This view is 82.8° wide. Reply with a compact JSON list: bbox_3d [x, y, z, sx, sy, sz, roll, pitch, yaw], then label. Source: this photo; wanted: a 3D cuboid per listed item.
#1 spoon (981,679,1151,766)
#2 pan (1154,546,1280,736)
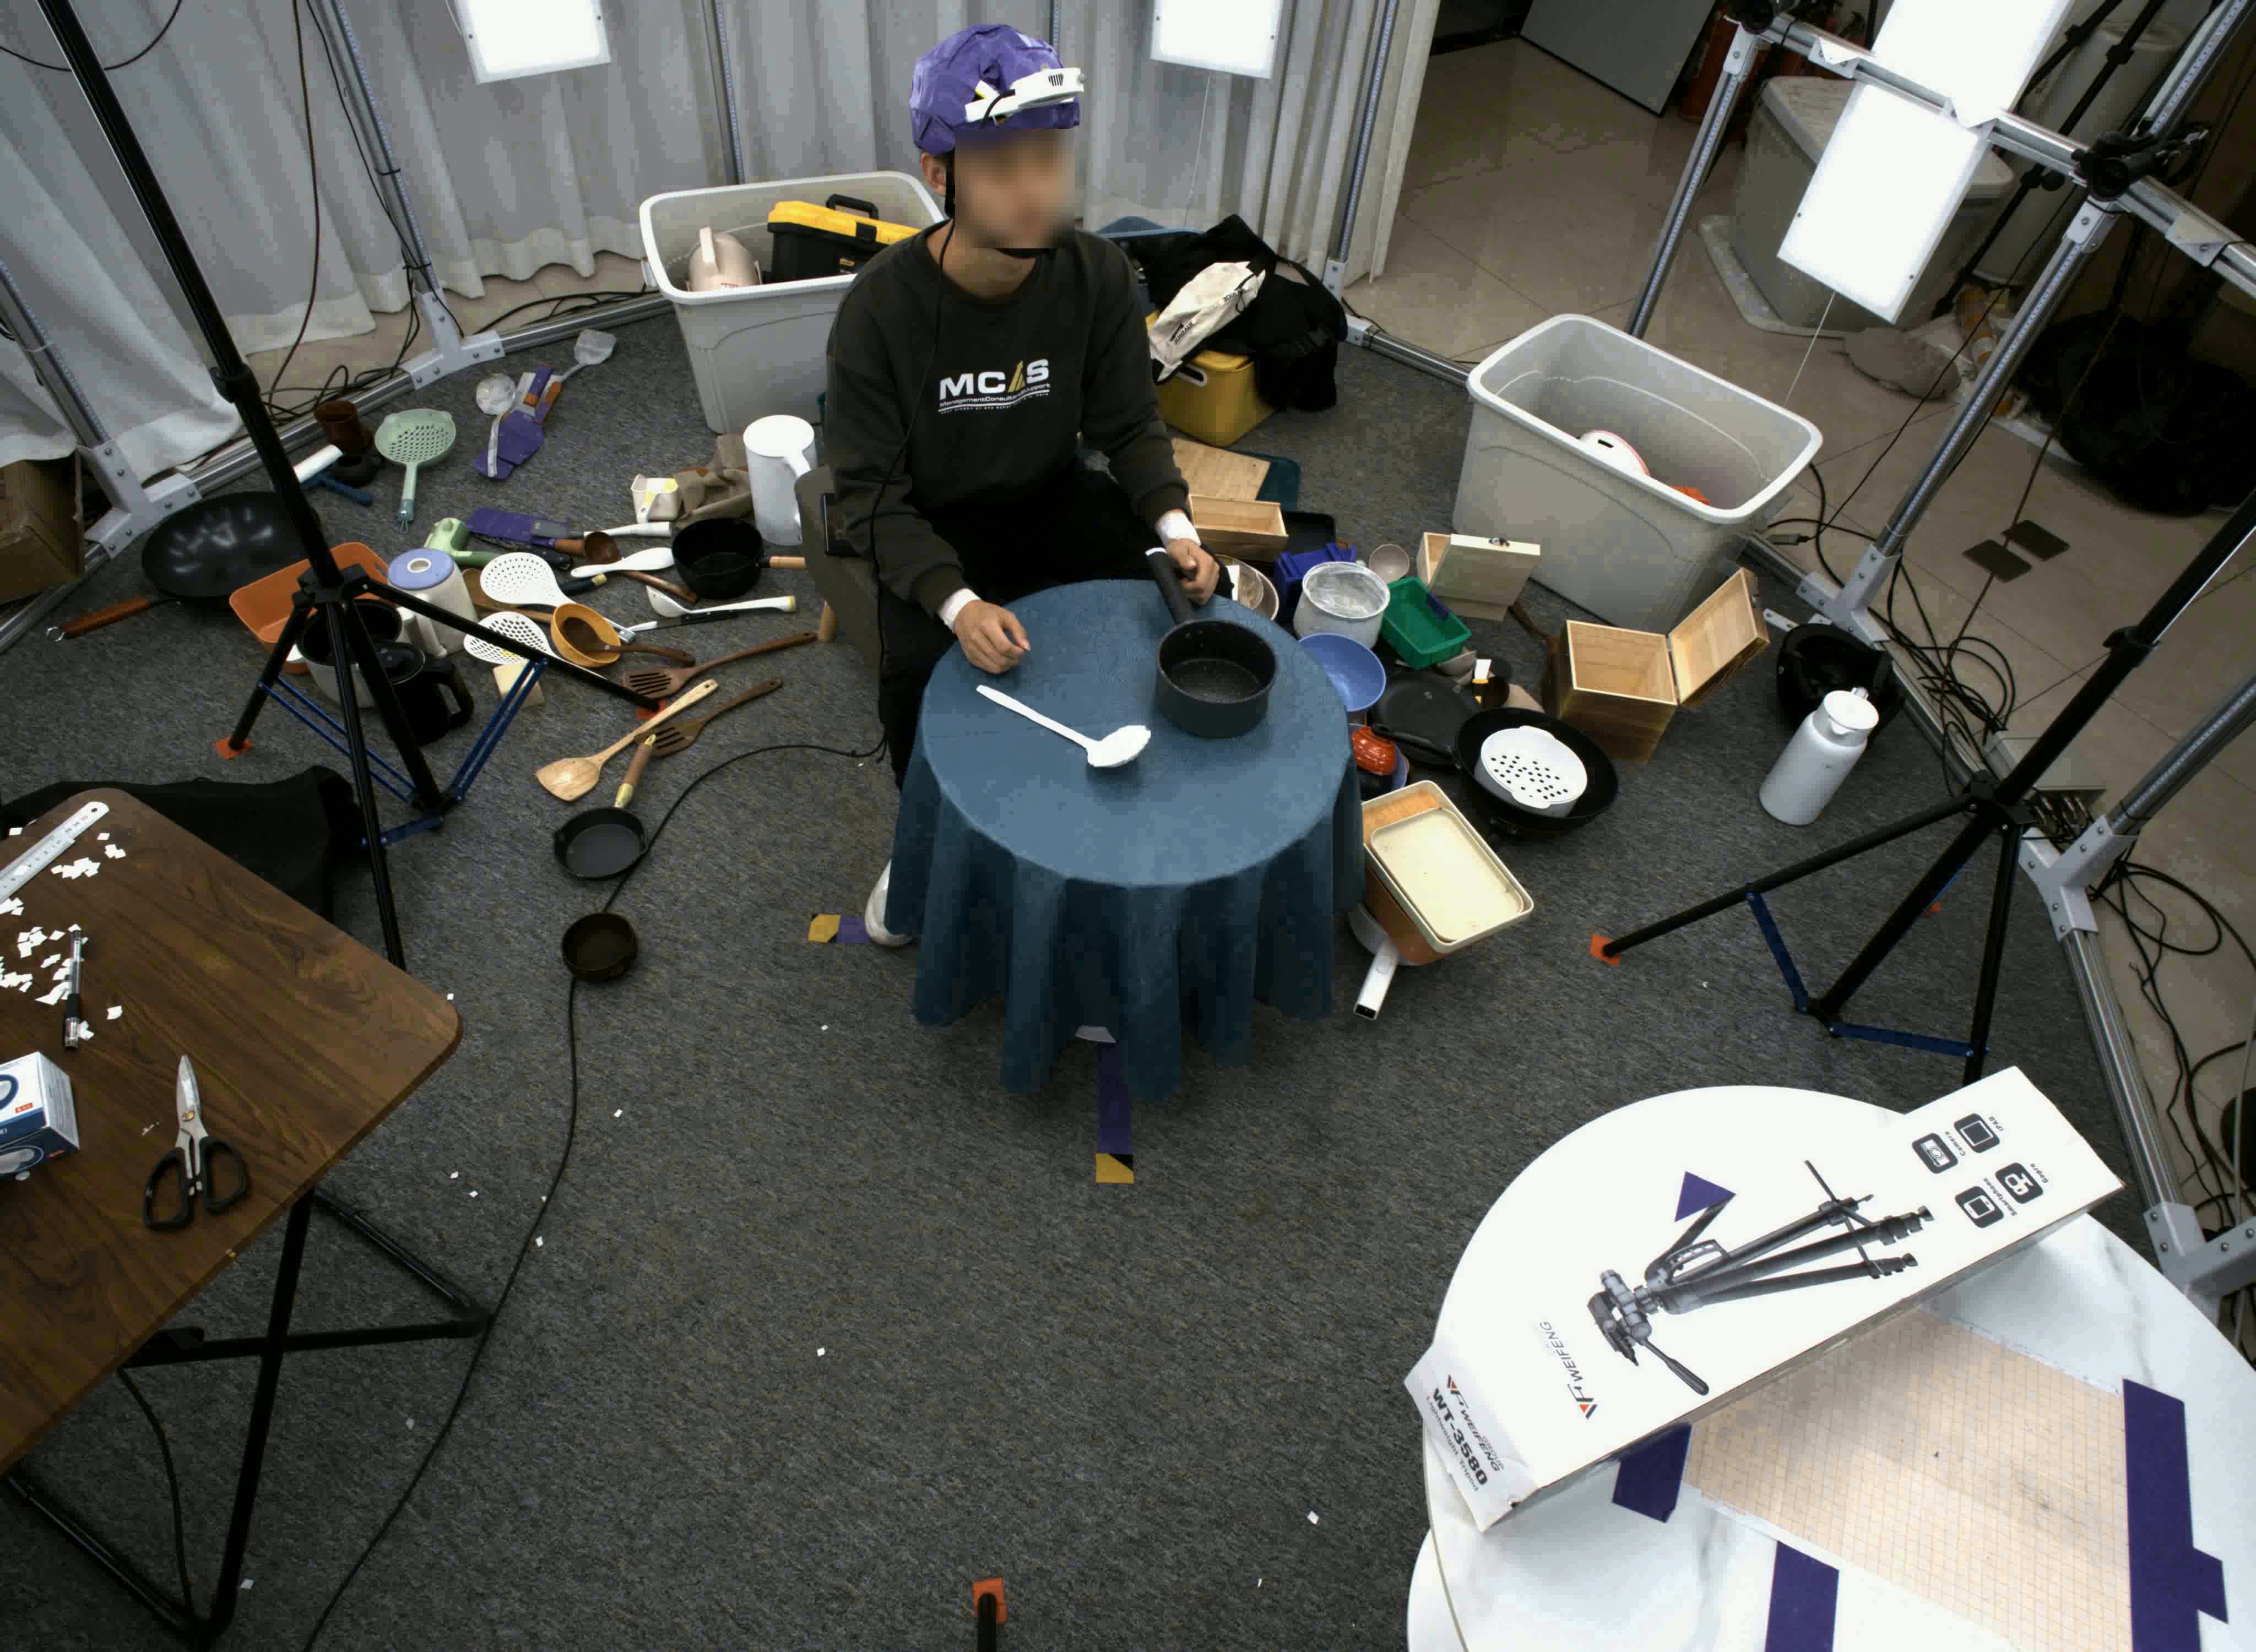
[{"bbox_3d":[-0.091,-0.158,1.761,0.280,0.058,0.102,31,51,21],"label":"spoon"},{"bbox_3d":[0.099,-0.269,1.853,0.172,0.084,0.337,-11,51,-14],"label":"pan"}]
